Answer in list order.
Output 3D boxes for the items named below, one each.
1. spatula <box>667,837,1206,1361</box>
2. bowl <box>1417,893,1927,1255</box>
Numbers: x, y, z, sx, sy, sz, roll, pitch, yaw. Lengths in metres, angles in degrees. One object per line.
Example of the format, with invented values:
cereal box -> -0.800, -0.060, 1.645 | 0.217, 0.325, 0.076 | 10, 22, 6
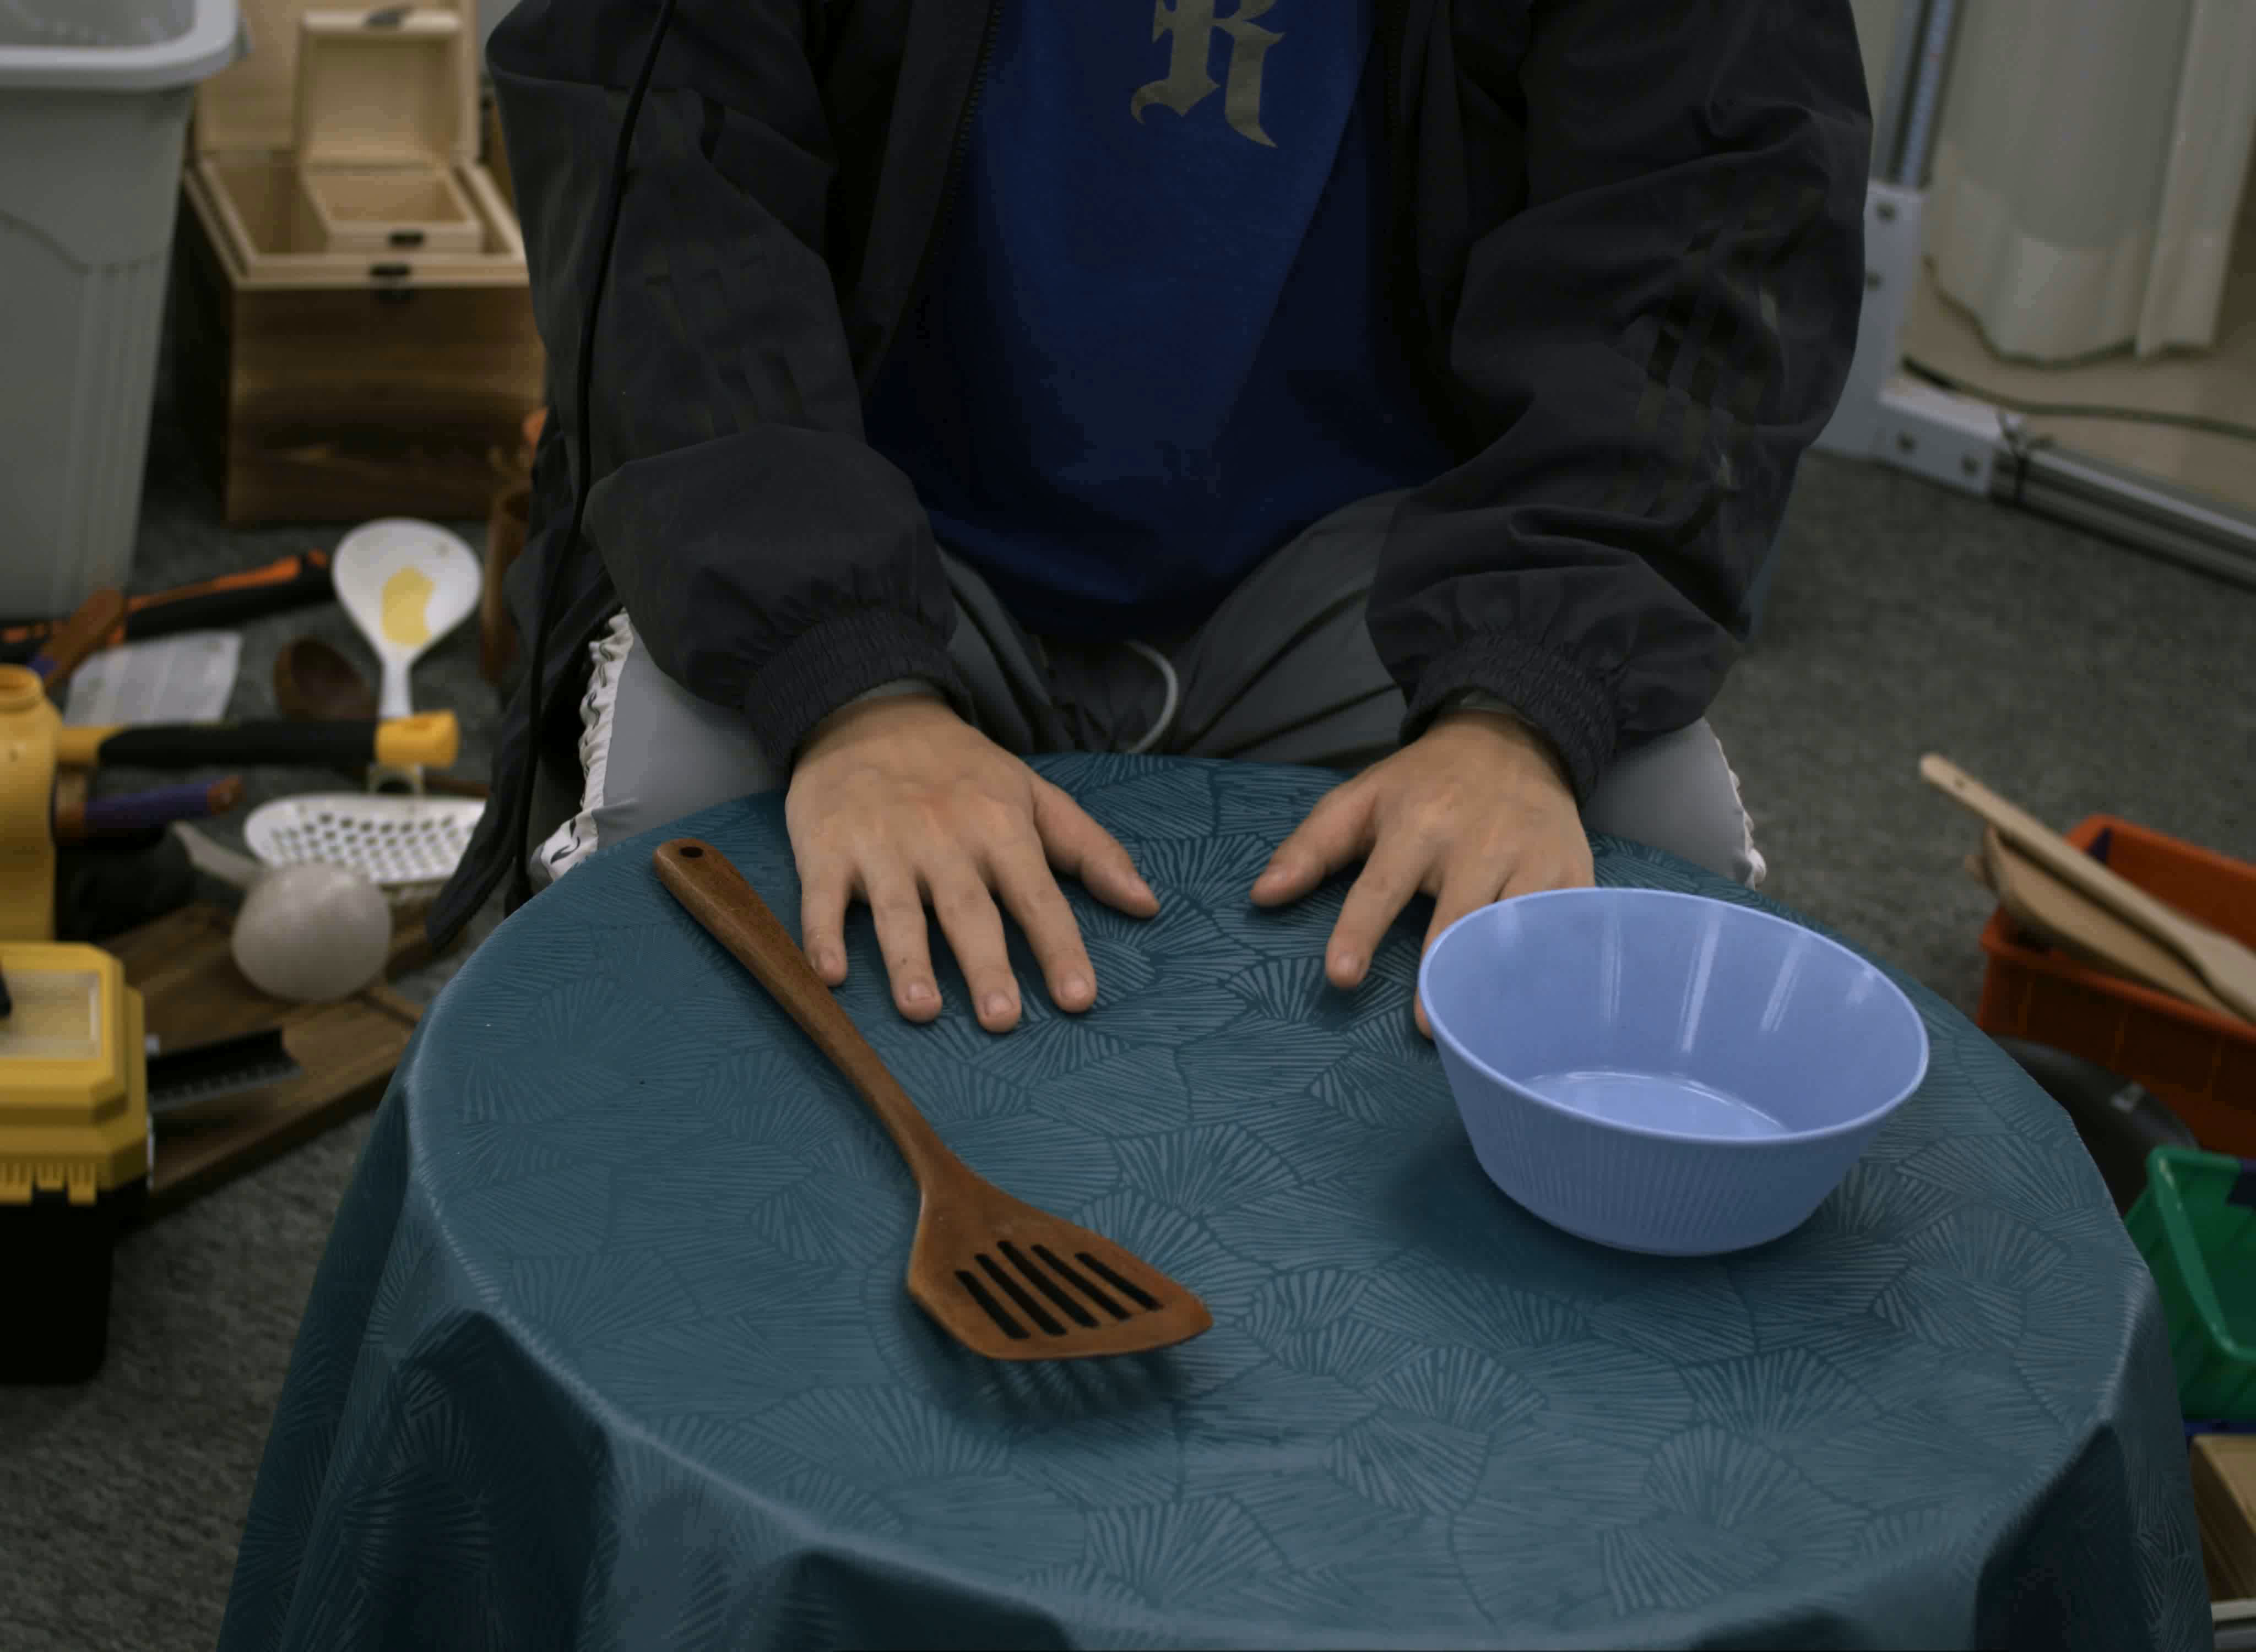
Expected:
spatula -> -0.086, 0.091, 1.825 | 0.085, 0.024, 0.390 | -6, 28, -24
bowl -> 0.182, 0.091, 1.831 | 0.175, 0.070, 0.177 | 5, 26, -3
